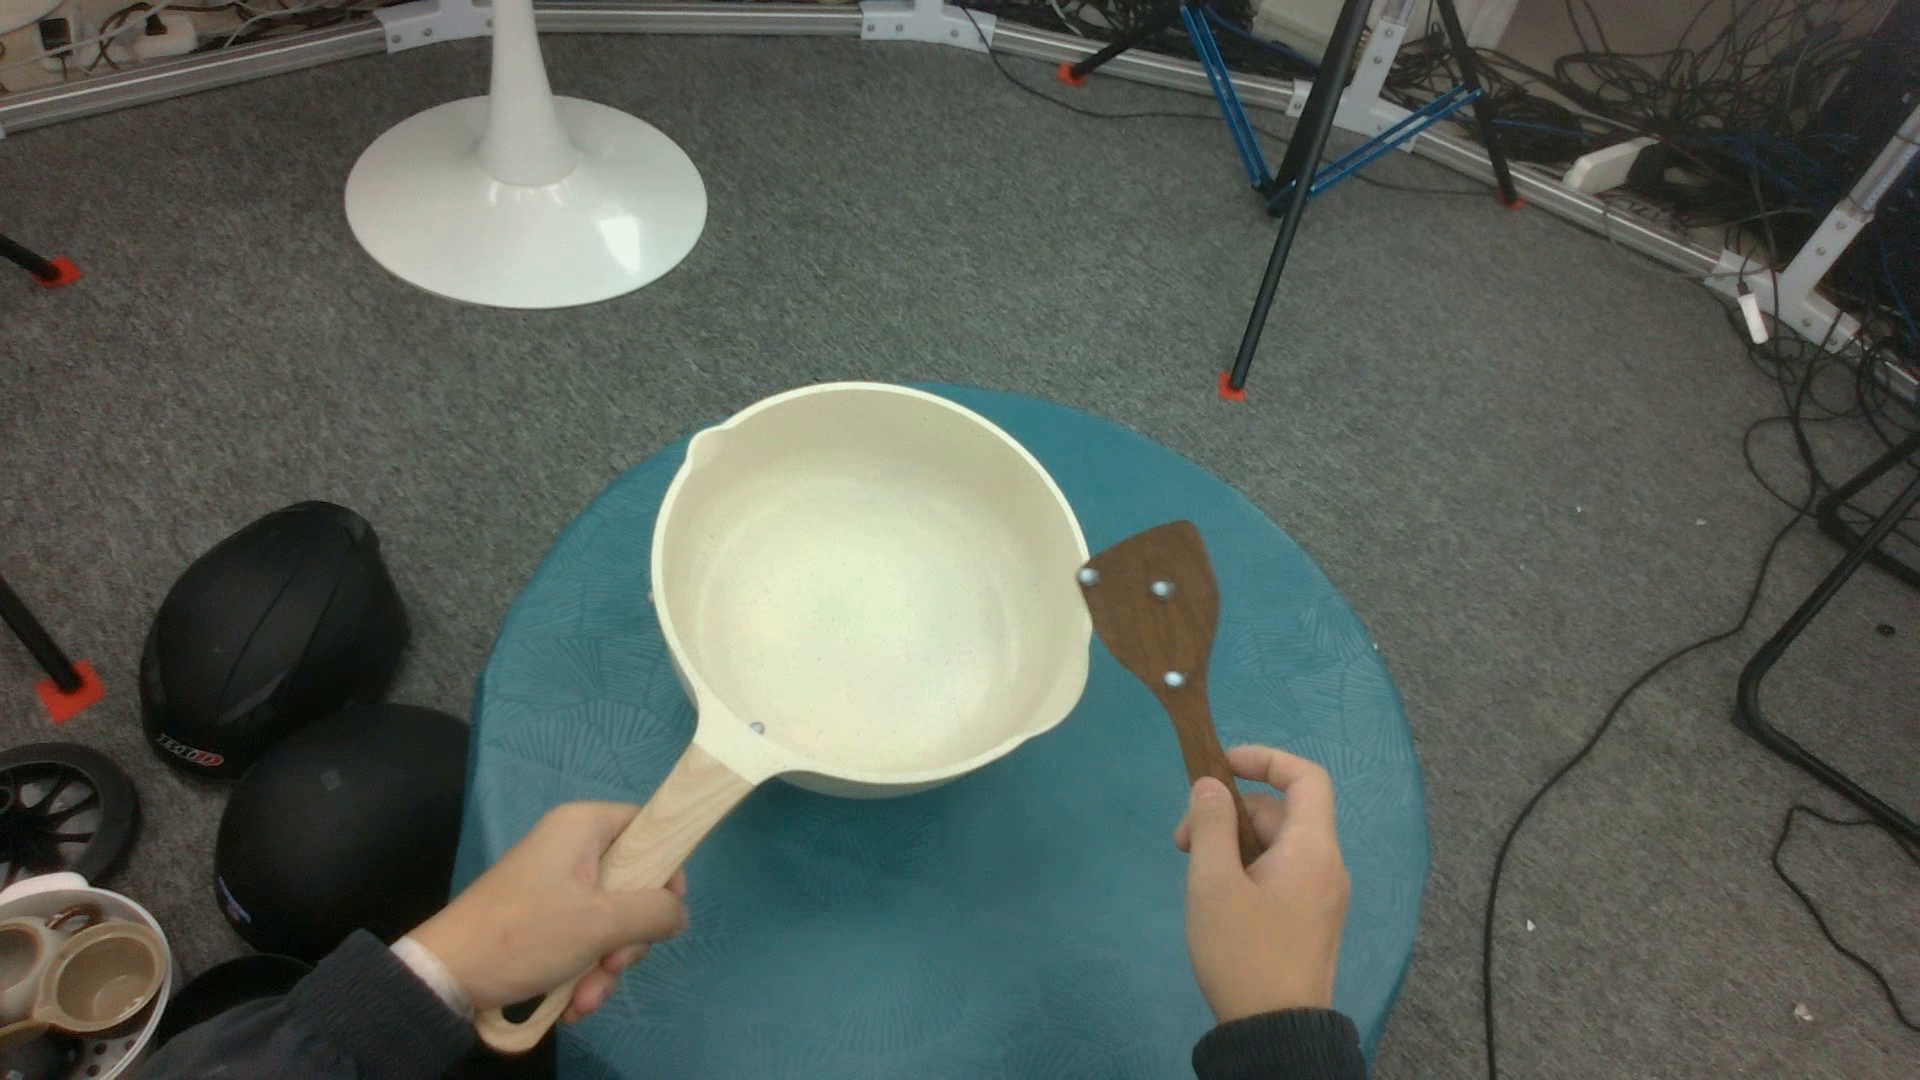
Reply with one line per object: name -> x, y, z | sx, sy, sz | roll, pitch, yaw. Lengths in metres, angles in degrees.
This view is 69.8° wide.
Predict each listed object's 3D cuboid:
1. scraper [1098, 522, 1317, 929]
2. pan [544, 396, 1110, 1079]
scraper -> 0.132, 0.092, 0.702 | 0.075, 0.011, 0.212 | -27, 61, 20
pan -> -0.085, 0.104, 0.759 | 0.263, 0.101, 0.437 | 32, 59, 4
